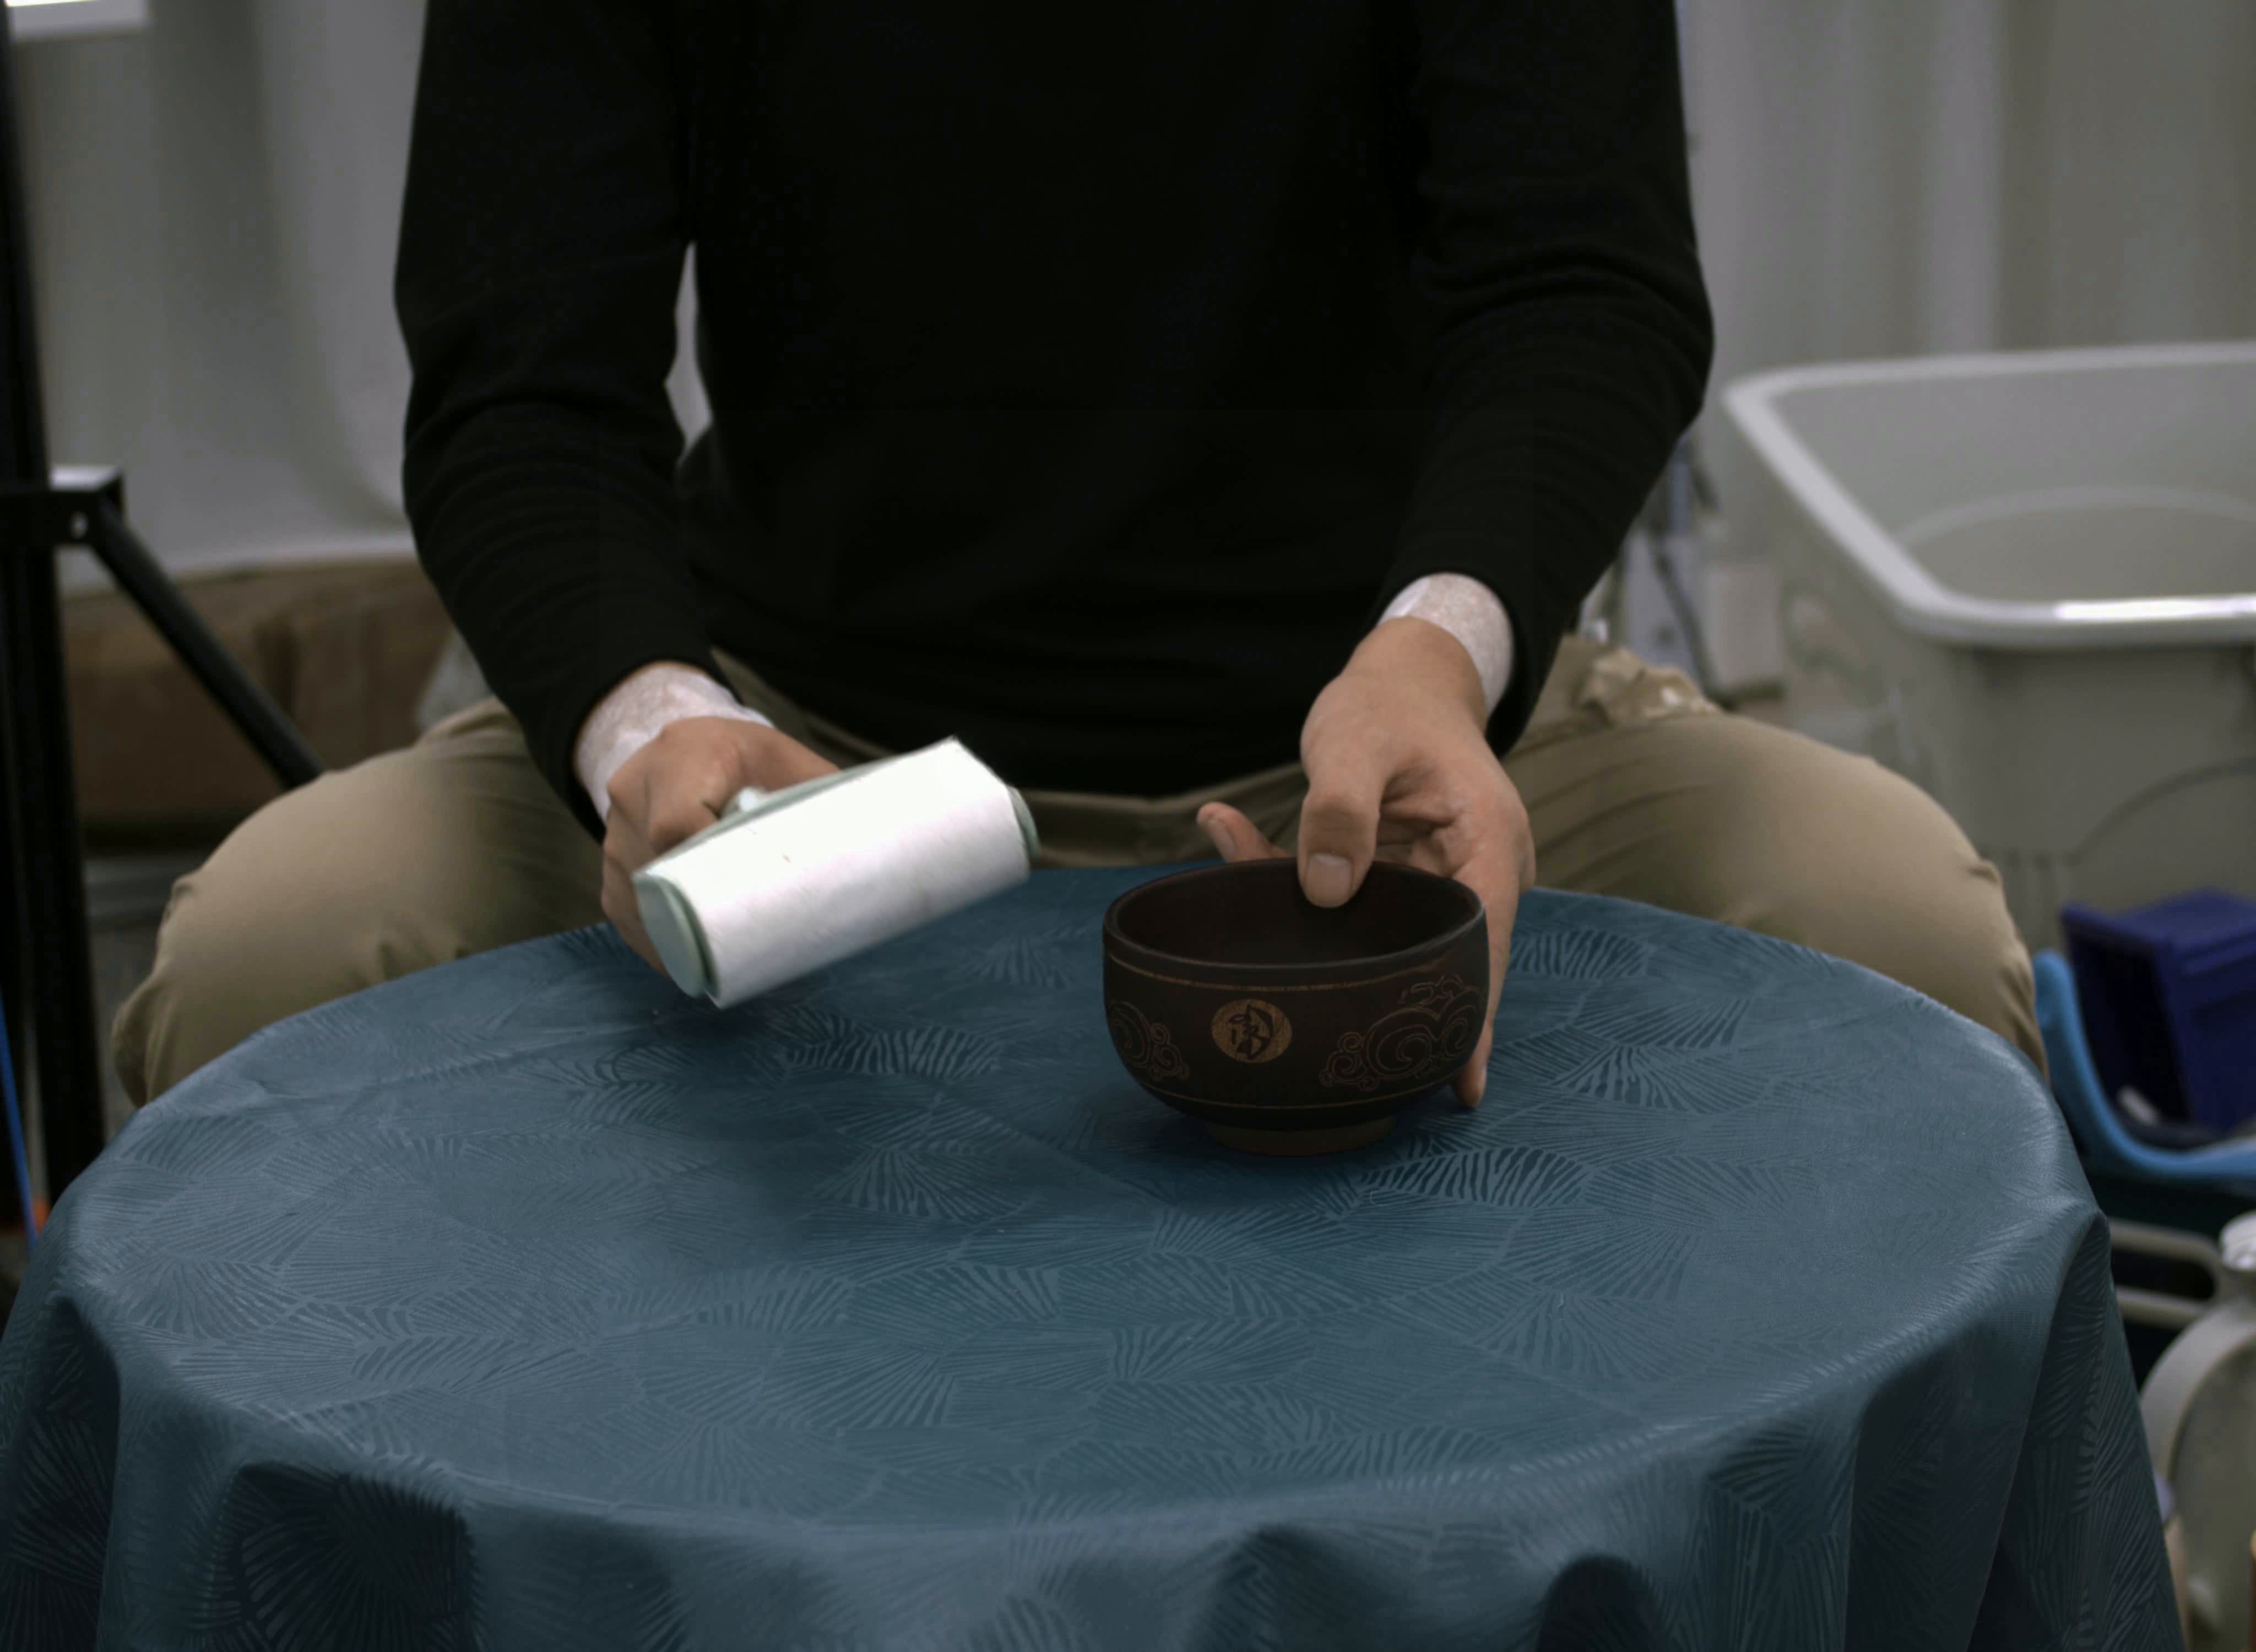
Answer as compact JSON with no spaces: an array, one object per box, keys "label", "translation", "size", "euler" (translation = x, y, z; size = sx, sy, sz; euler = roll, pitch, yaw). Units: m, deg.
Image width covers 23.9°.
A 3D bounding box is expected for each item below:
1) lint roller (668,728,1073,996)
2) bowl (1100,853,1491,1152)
[{"label":"lint roller","translation":[-0.095,0.008,1.644],"size":[0.115,0.048,0.200],"euler":[-23,9,-14]},{"label":"bowl","translation":[0.051,0.057,1.598],"size":[0.117,0.070,0.118],"euler":[-3,15,0]}]
